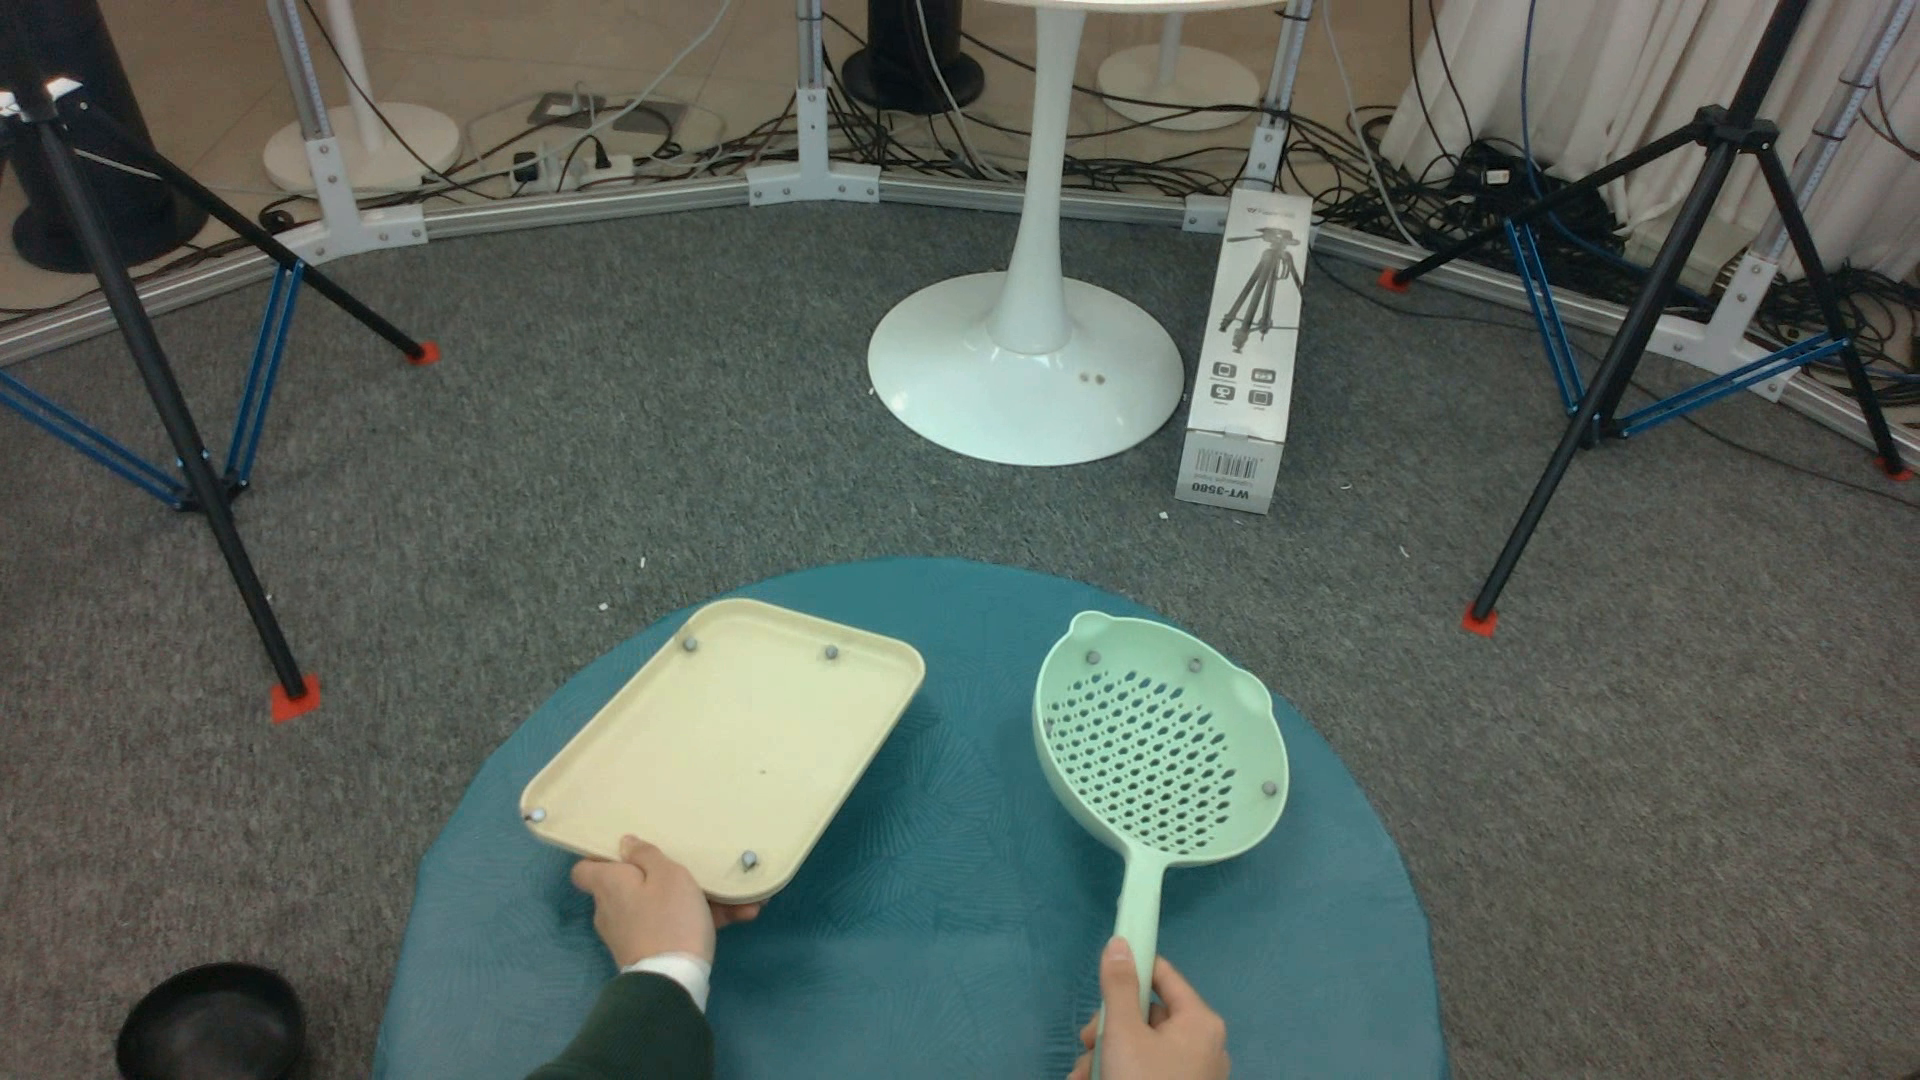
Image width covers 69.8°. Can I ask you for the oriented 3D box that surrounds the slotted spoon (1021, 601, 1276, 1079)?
[{"bbox_3d":[0.094,0.185,0.775,0.169,0.075,0.360,22,37,-6],"label":"slotted spoon"}]

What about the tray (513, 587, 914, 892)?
[{"bbox_3d":[-0.142,0.114,0.844,0.171,0.017,0.241,14,36,16],"label":"tray"}]
